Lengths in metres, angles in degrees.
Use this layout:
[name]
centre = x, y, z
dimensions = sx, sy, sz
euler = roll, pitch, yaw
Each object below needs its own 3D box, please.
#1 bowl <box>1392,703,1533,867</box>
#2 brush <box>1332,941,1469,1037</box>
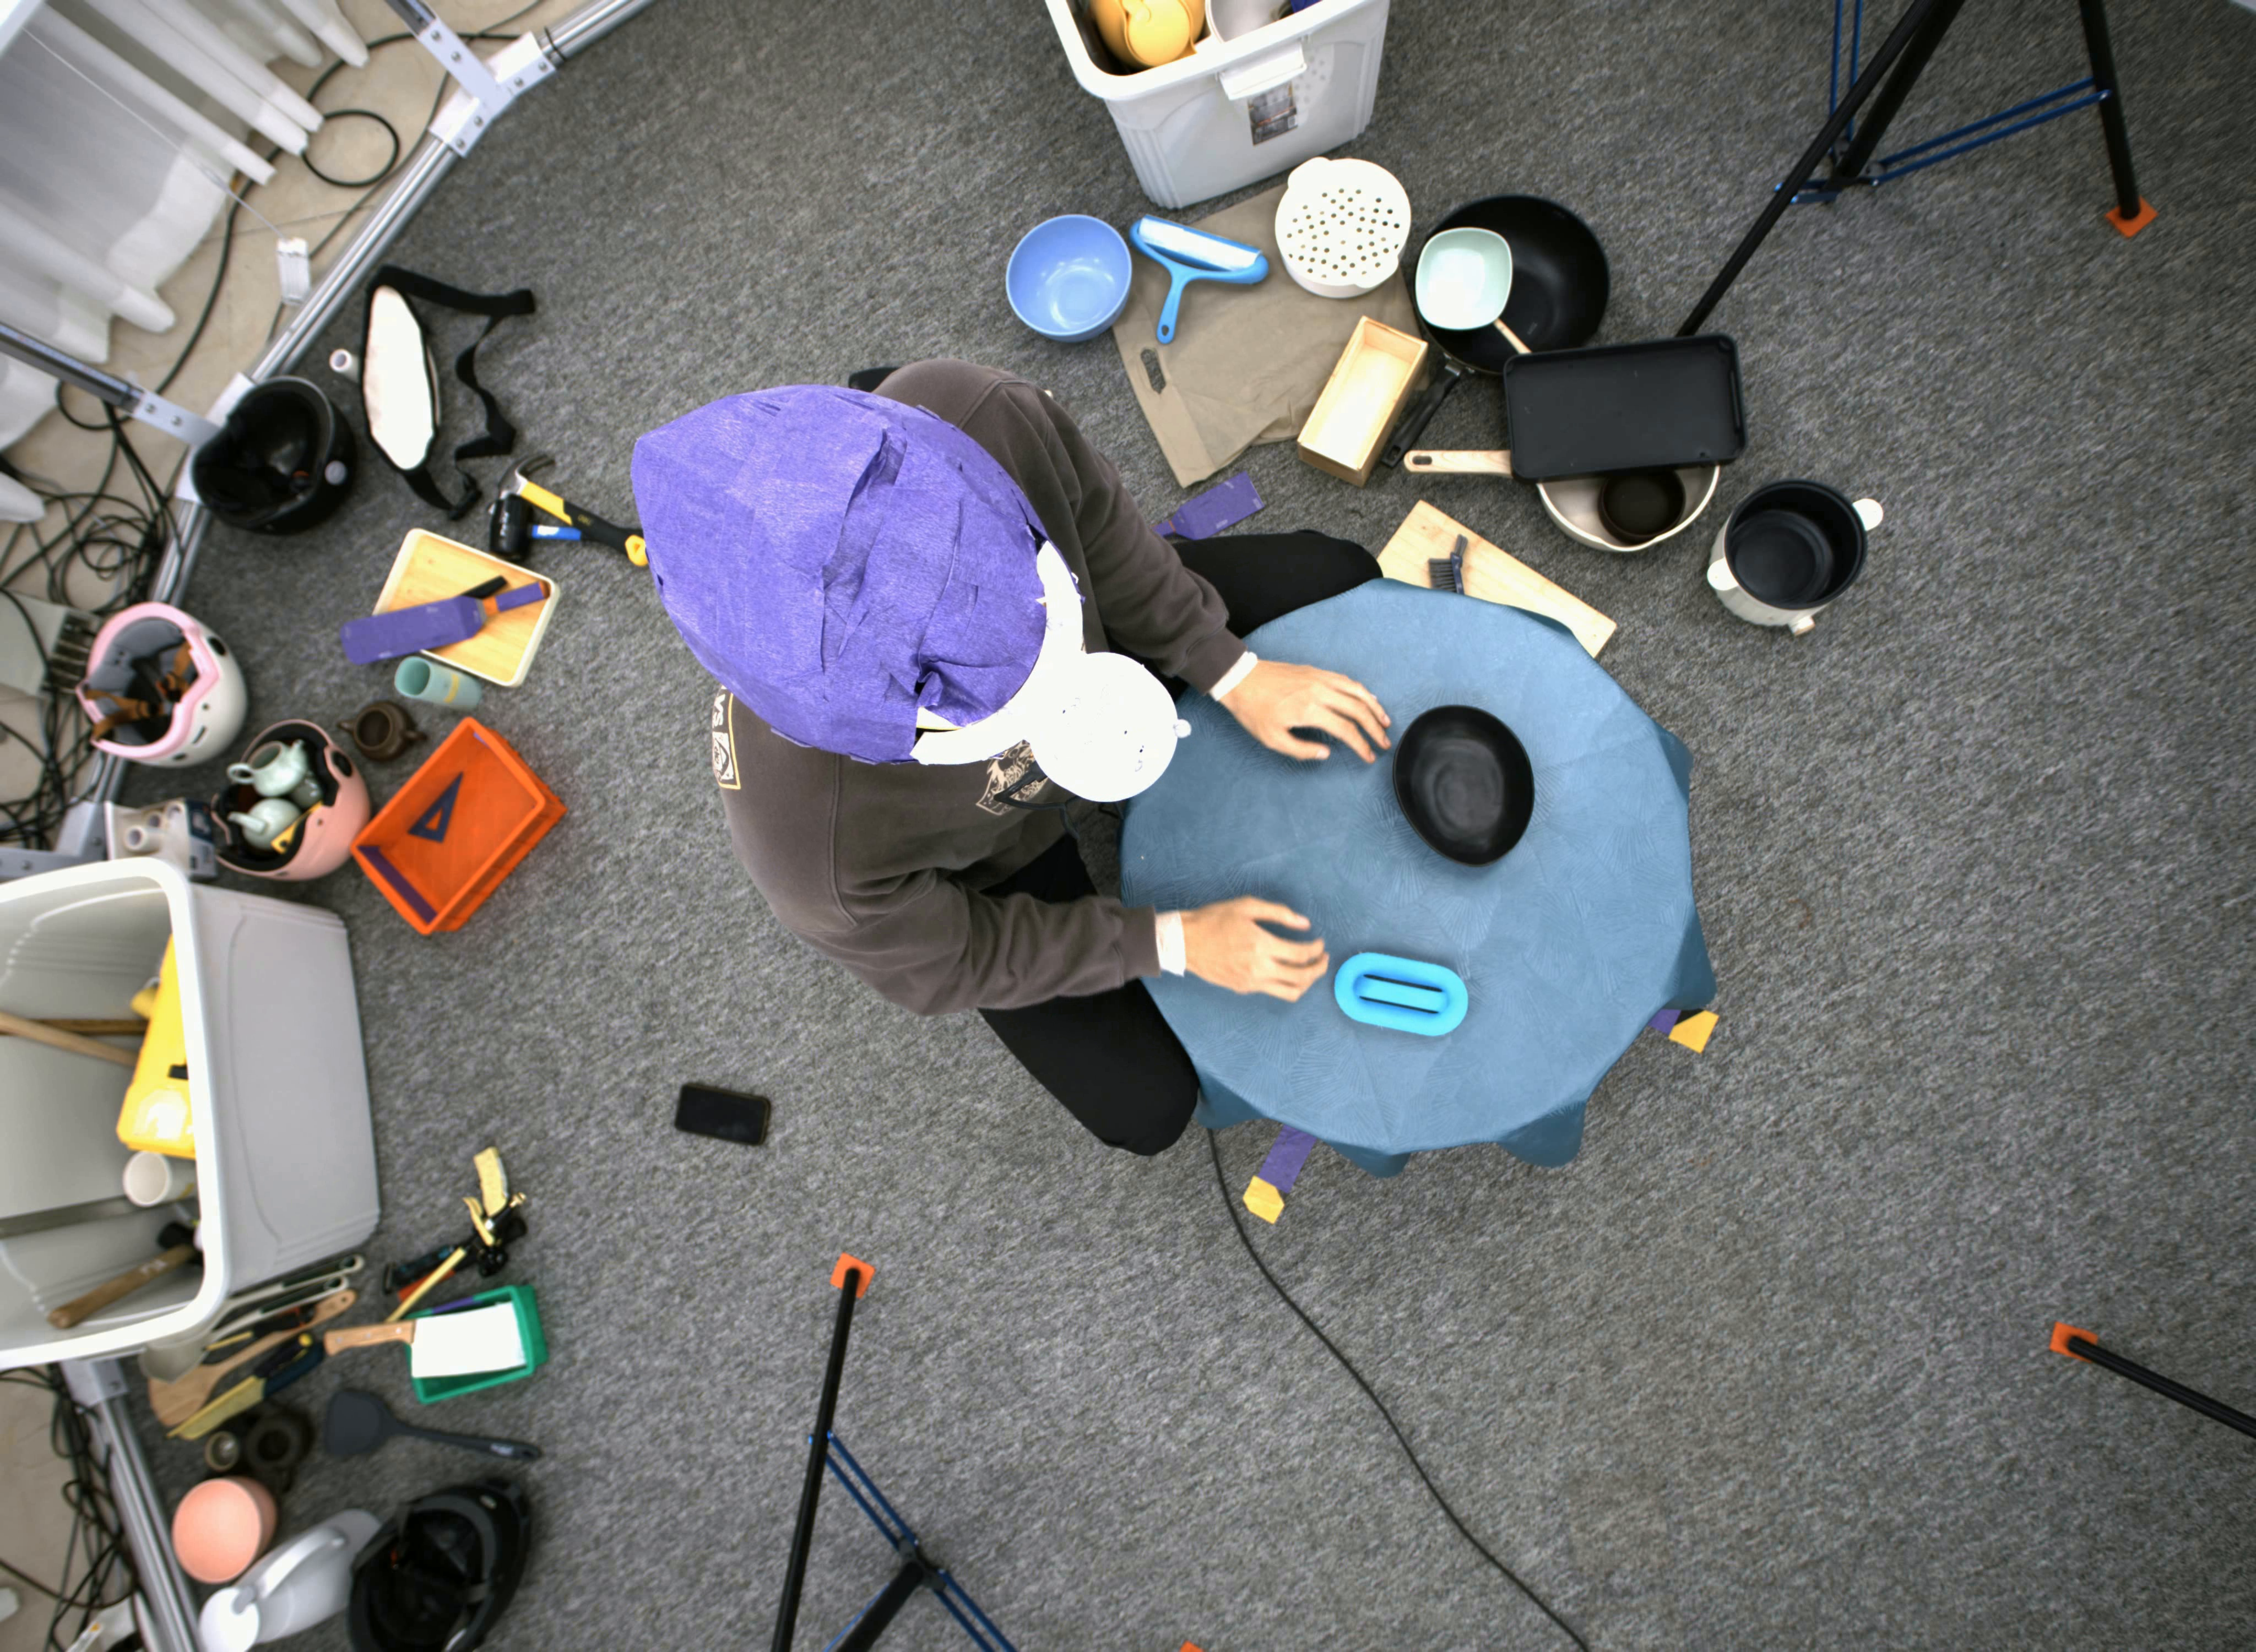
[bowl]
centre = 0.344, -0.043, 1.417
dimensions = 0.138, 0.066, 0.169
euler = -20, 85, 9
[brush]
centre = 0.279, 0.167, 1.418
dimensions = 0.142, 0.063, 0.084
euler = 13, 93, 12
